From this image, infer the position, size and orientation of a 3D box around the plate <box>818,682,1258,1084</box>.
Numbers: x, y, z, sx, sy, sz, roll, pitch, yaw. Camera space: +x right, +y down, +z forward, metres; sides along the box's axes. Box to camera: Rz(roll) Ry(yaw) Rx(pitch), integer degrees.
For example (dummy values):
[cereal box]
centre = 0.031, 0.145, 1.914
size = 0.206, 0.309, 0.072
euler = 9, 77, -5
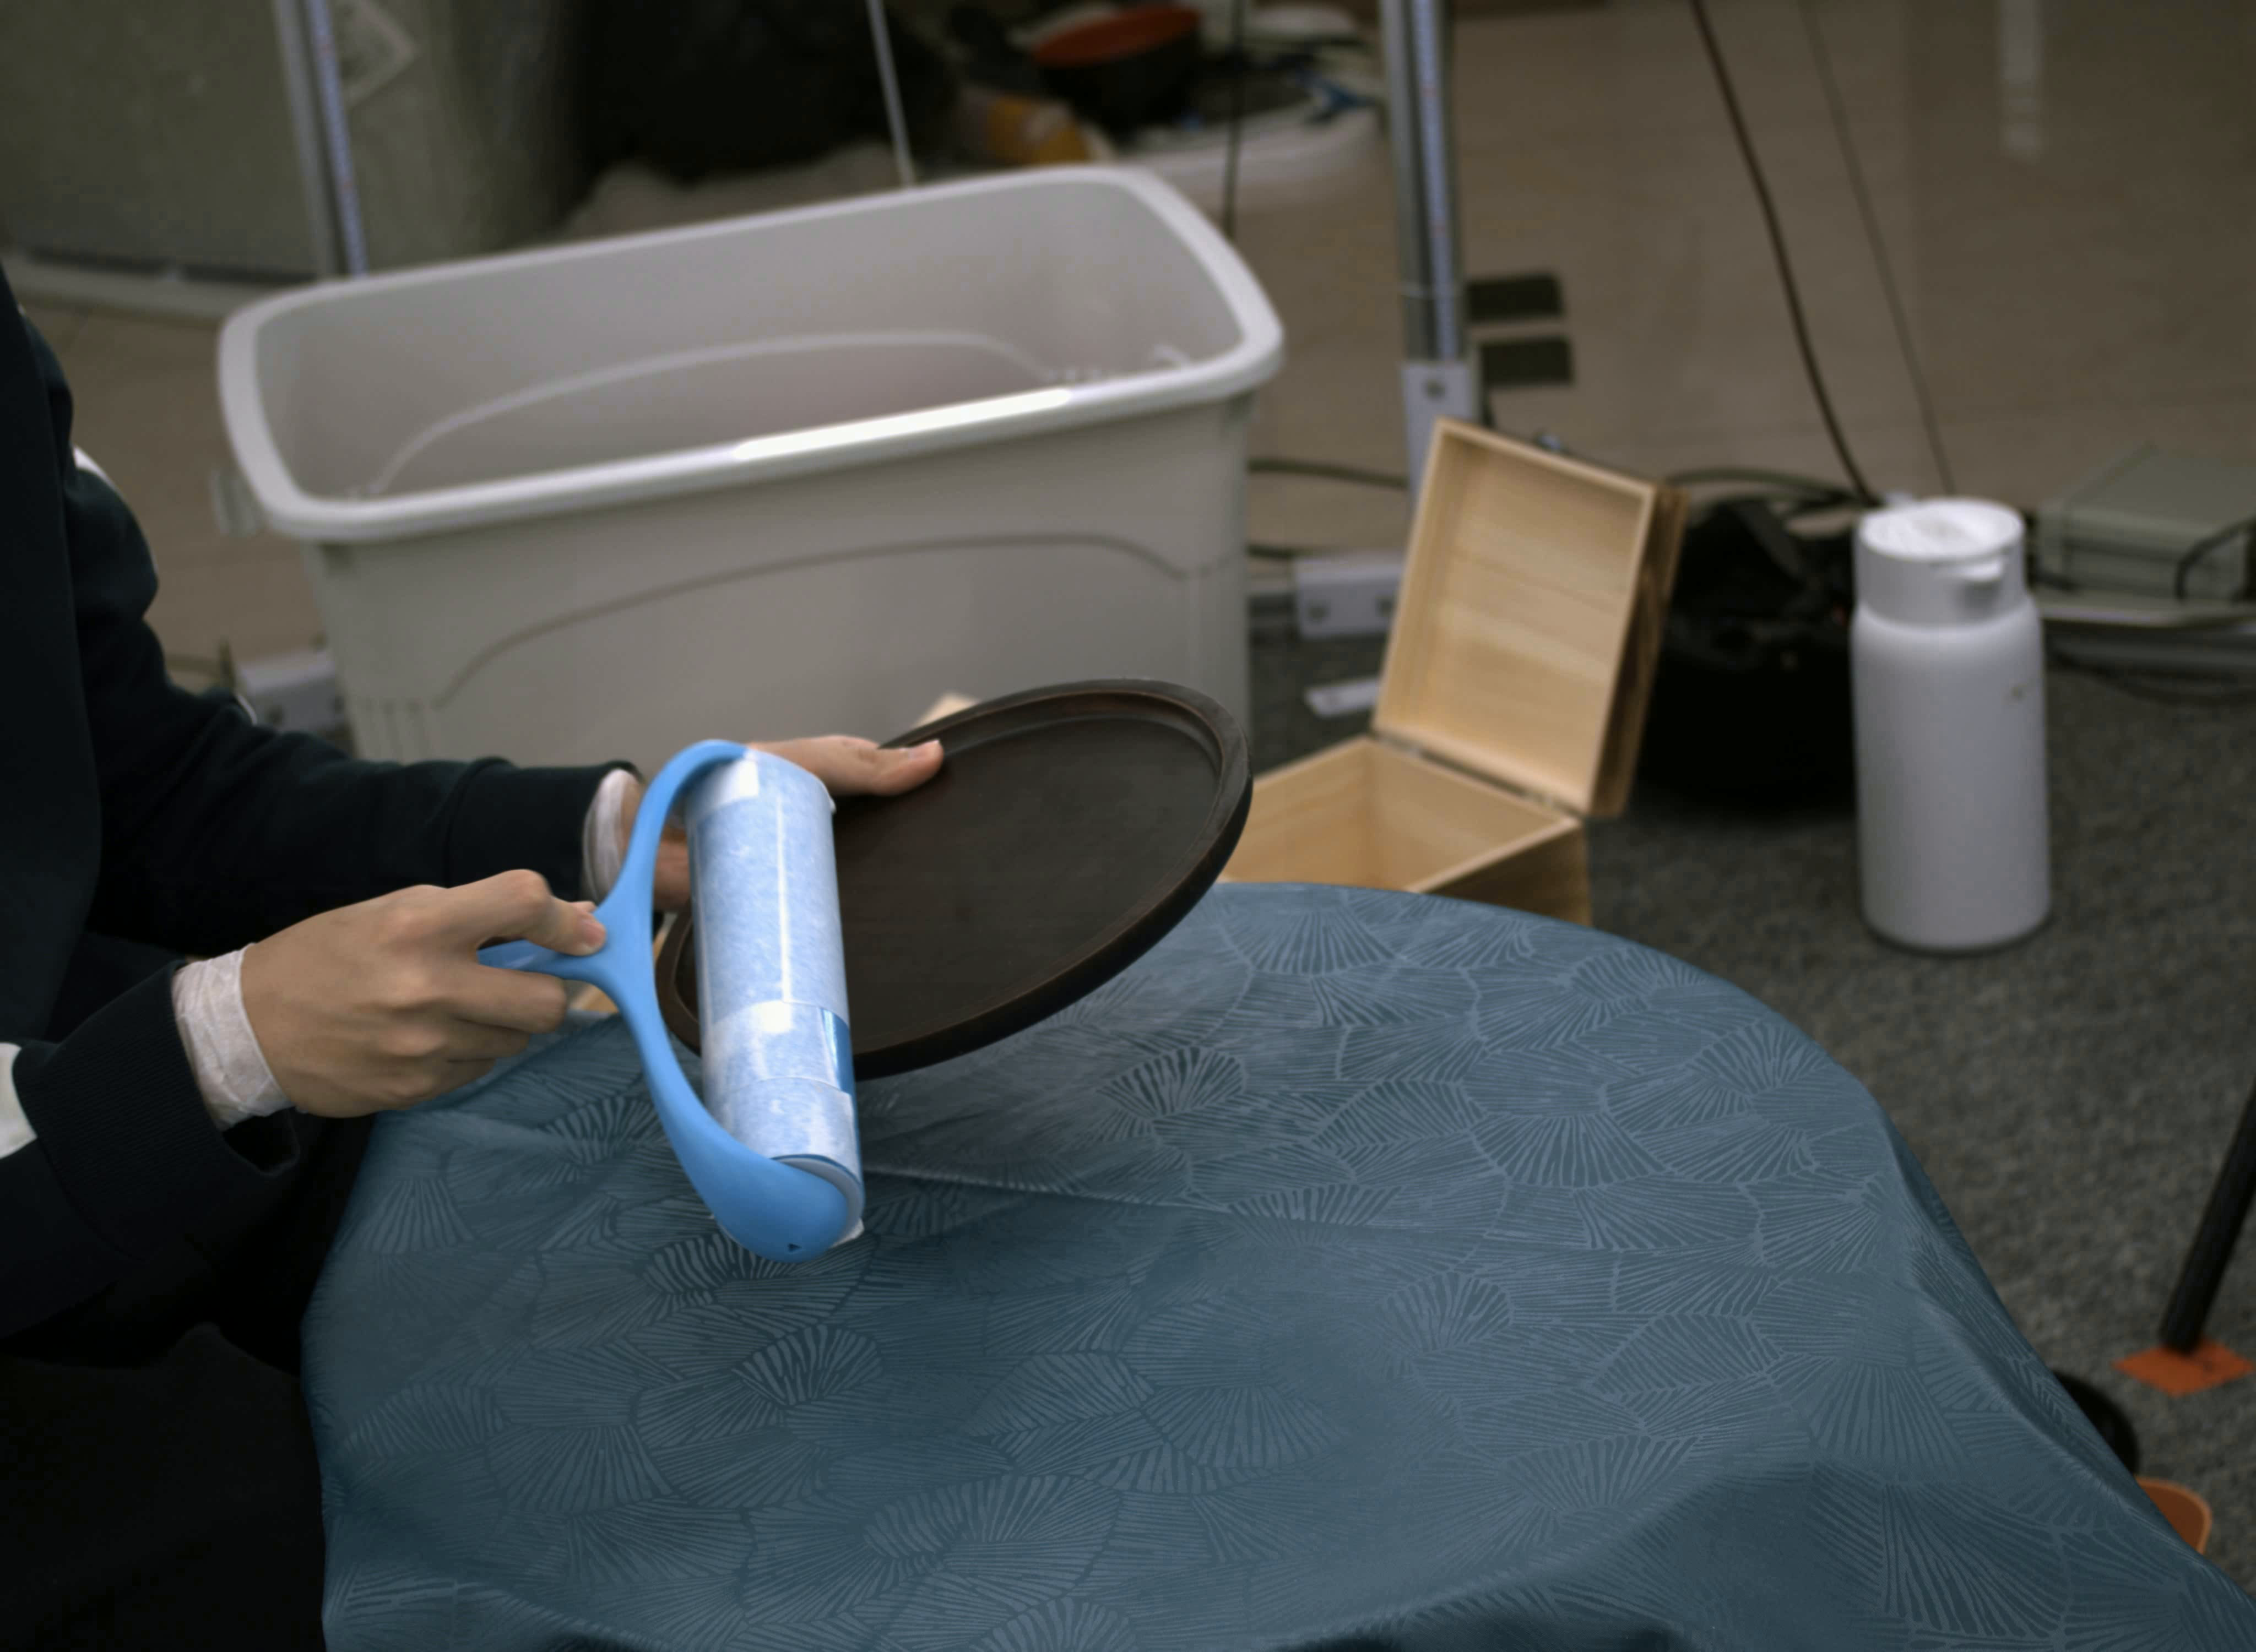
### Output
[plate]
centre = -0.065, 0.022, 2.201
size = 0.255, 0.029, 0.250
euler = -19, 27, 11

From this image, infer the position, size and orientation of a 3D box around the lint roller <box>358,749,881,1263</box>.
[lint roller]
centre = -0.182, 0.064, 2.012
size = 0.180, 0.069, 0.225
euler = -1, 48, -11
